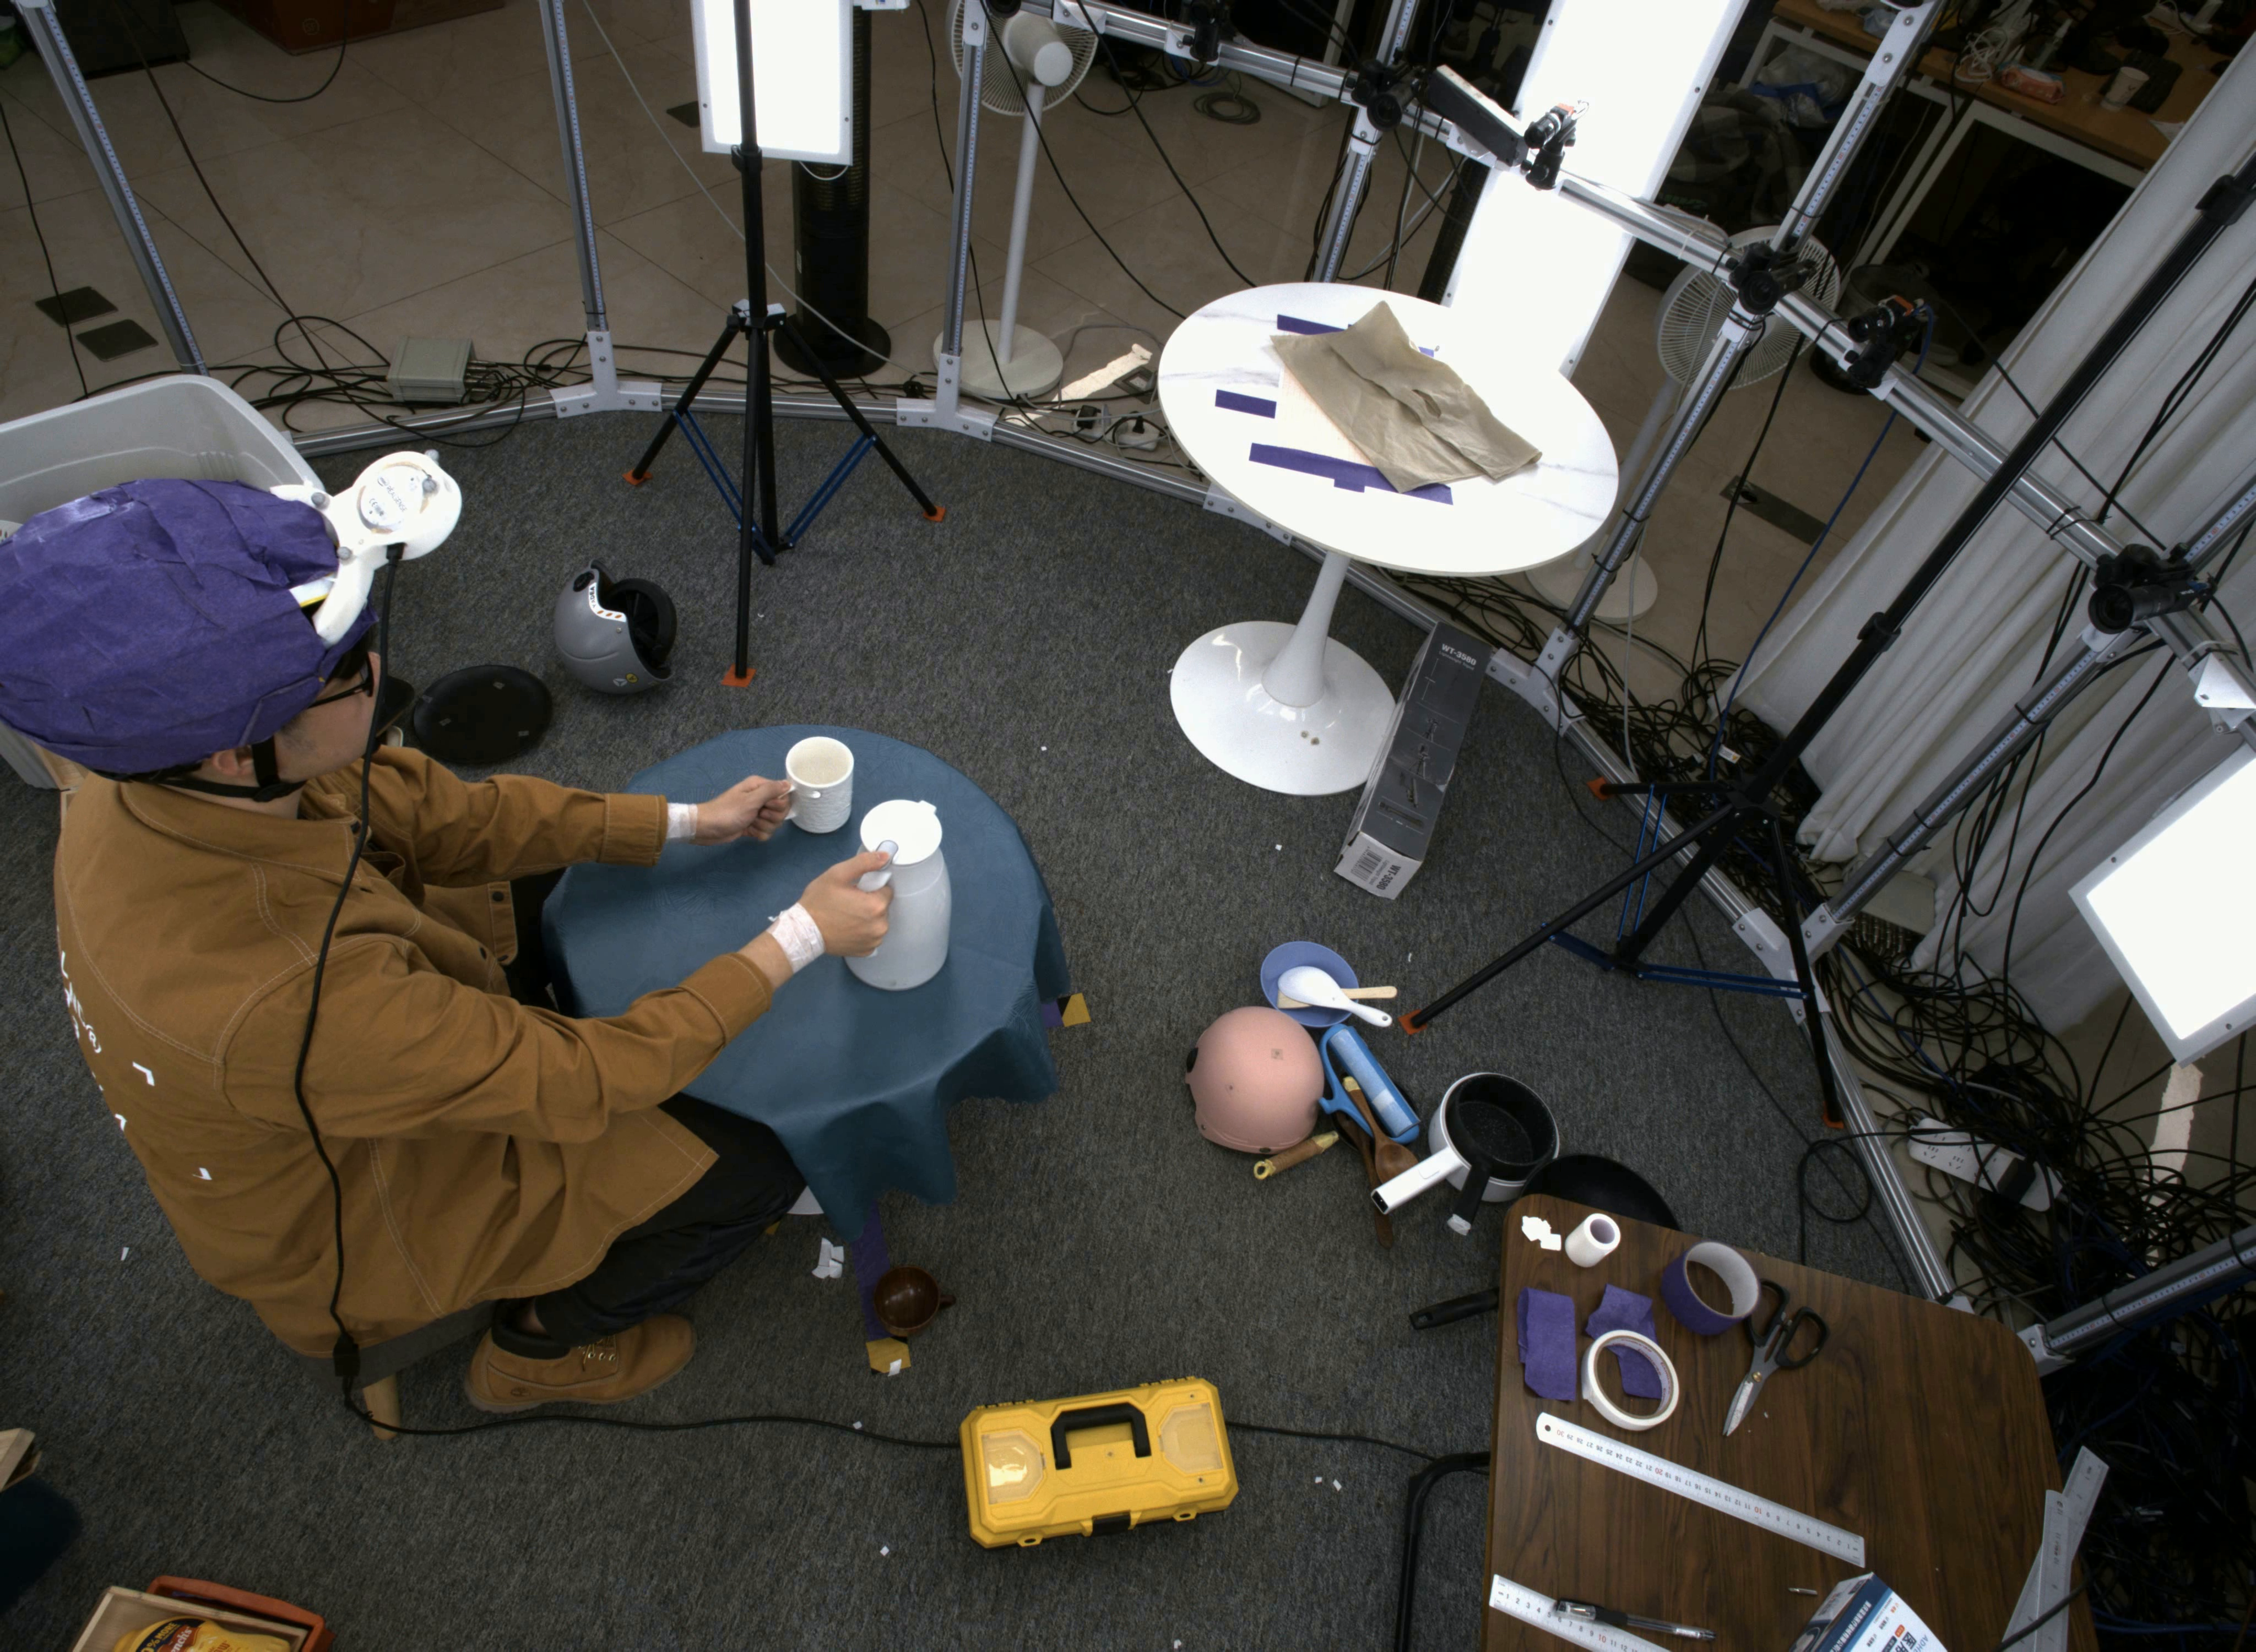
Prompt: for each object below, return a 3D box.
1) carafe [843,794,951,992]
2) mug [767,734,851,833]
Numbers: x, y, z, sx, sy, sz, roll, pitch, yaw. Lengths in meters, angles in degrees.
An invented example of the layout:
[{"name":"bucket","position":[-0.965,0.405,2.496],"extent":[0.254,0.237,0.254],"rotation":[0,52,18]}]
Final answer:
[{"name":"carafe","position":[-0.280,0.086,1.534],"extent":[0.130,0.254,0.166],"rotation":[24,52,7]},{"name":"mug","position":[-0.417,-0.047,1.689],"extent":[0.083,0.104,0.118],"rotation":[41,53,20]}]
